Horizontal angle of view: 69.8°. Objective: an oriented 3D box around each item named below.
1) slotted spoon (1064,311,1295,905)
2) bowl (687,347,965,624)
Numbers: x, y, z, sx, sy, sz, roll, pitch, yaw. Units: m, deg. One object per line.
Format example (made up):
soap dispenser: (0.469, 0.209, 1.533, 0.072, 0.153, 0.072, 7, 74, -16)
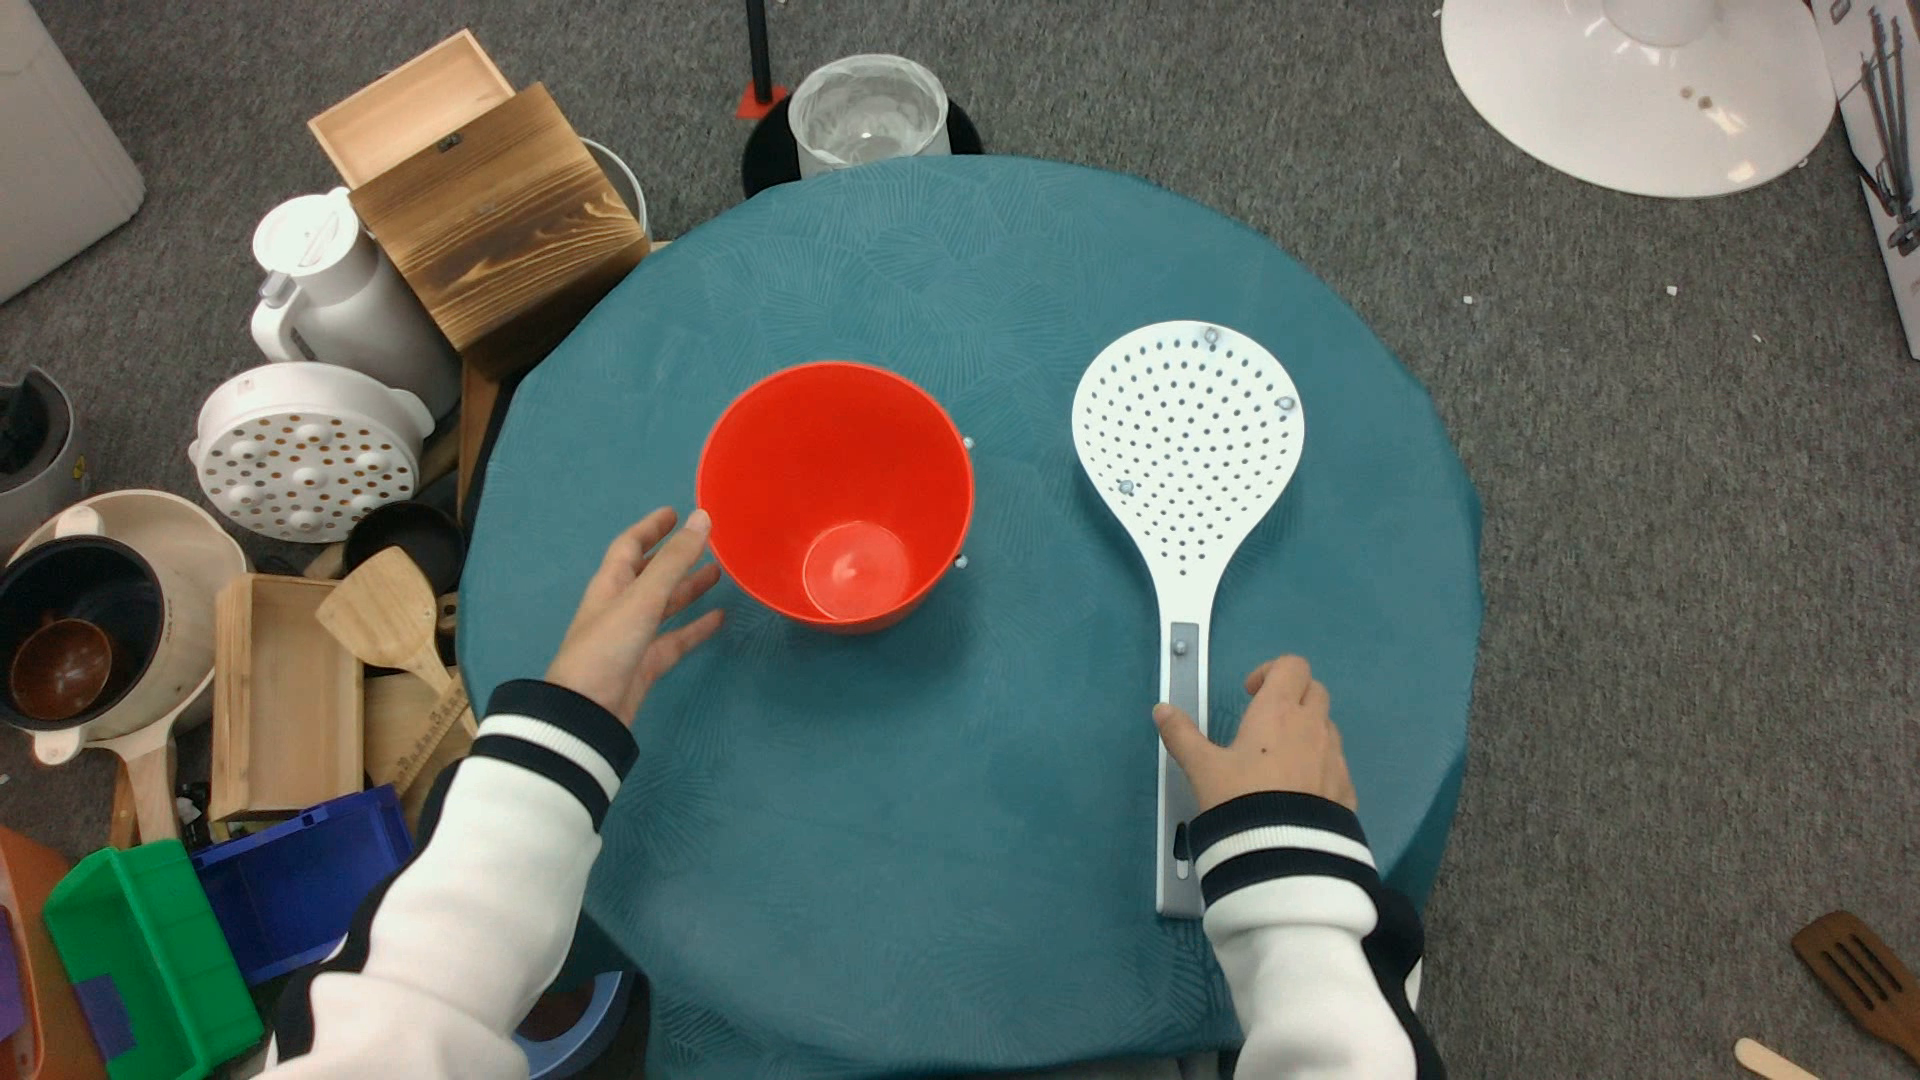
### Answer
slotted spoon: (0.121, 0.027, 0.781, 0.136, 0.045, 0.351, 3, 64, 3)
bowl: (-0.073, -0.018, 0.769, 0.148, 0.104, 0.148, 2, 63, -3)
